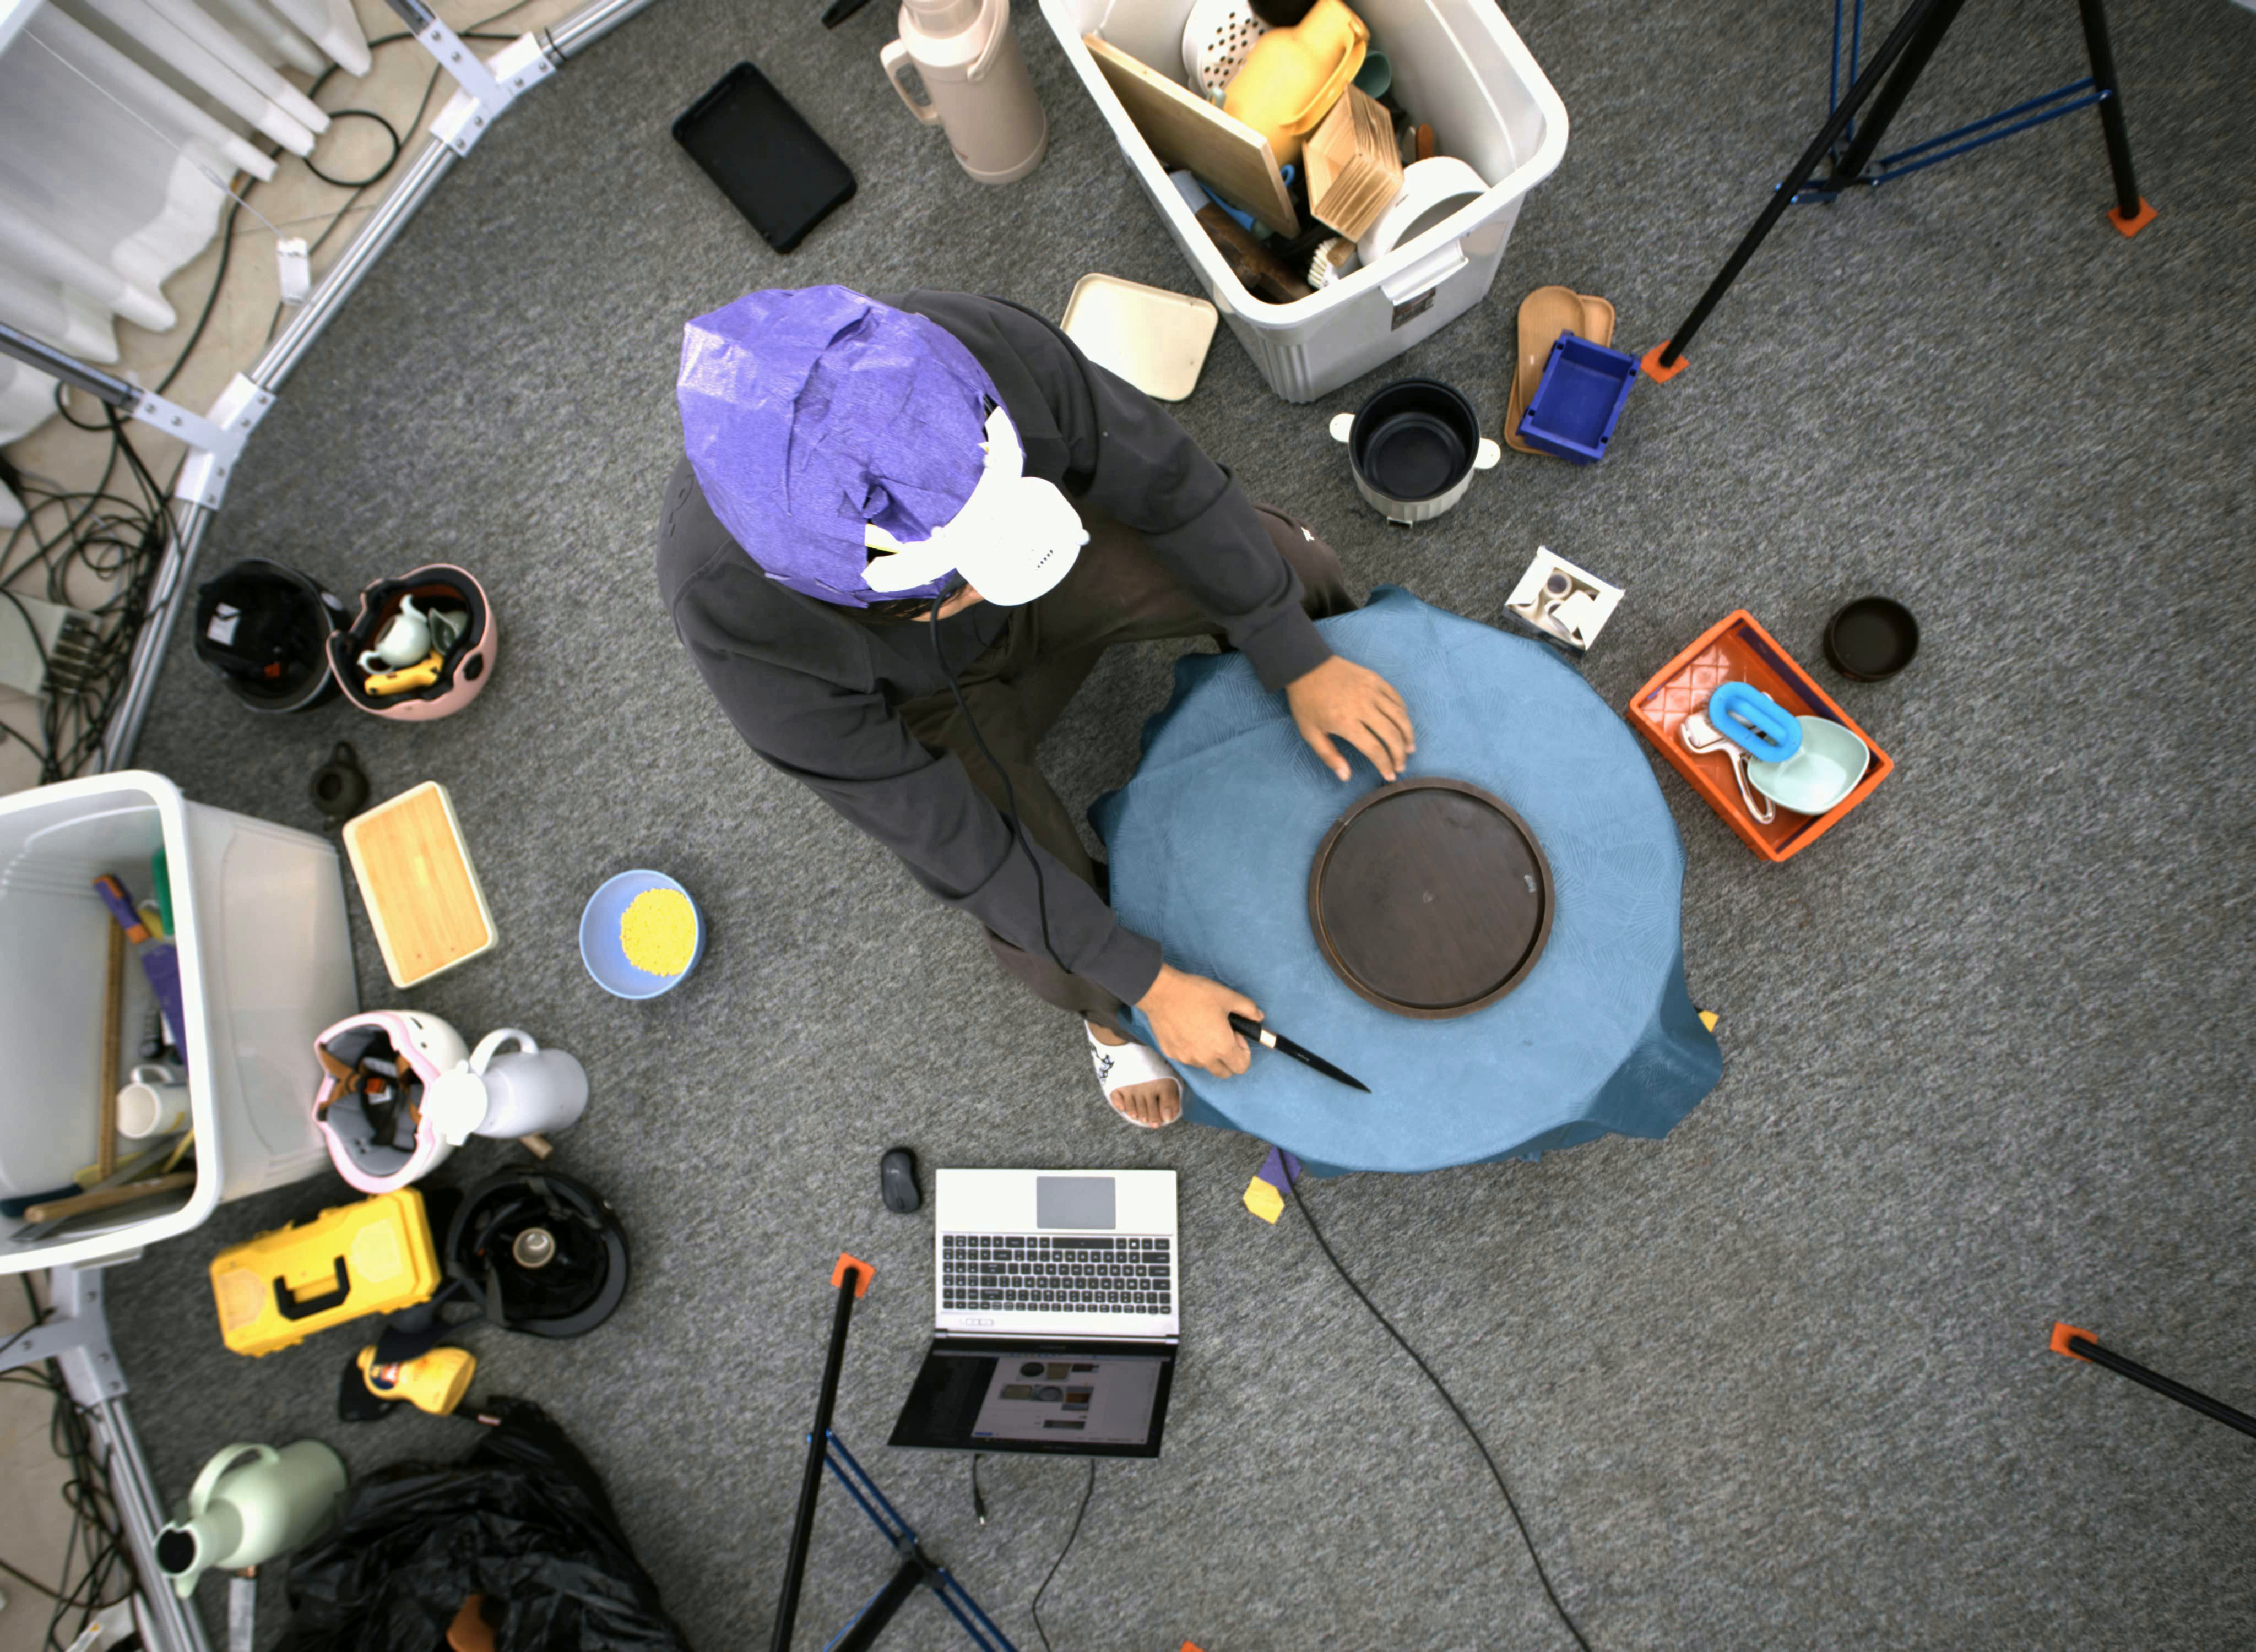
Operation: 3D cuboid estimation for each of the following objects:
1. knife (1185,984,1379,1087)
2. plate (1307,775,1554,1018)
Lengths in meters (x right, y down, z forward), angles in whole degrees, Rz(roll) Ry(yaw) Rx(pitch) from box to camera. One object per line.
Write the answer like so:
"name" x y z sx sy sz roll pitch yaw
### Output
"knife" 0.162 0.223 1.464 0.225 0.018 0.025 27 48 8
"plate" 0.315 0.072 1.441 0.256 0.029 0.254 -1 87 12
